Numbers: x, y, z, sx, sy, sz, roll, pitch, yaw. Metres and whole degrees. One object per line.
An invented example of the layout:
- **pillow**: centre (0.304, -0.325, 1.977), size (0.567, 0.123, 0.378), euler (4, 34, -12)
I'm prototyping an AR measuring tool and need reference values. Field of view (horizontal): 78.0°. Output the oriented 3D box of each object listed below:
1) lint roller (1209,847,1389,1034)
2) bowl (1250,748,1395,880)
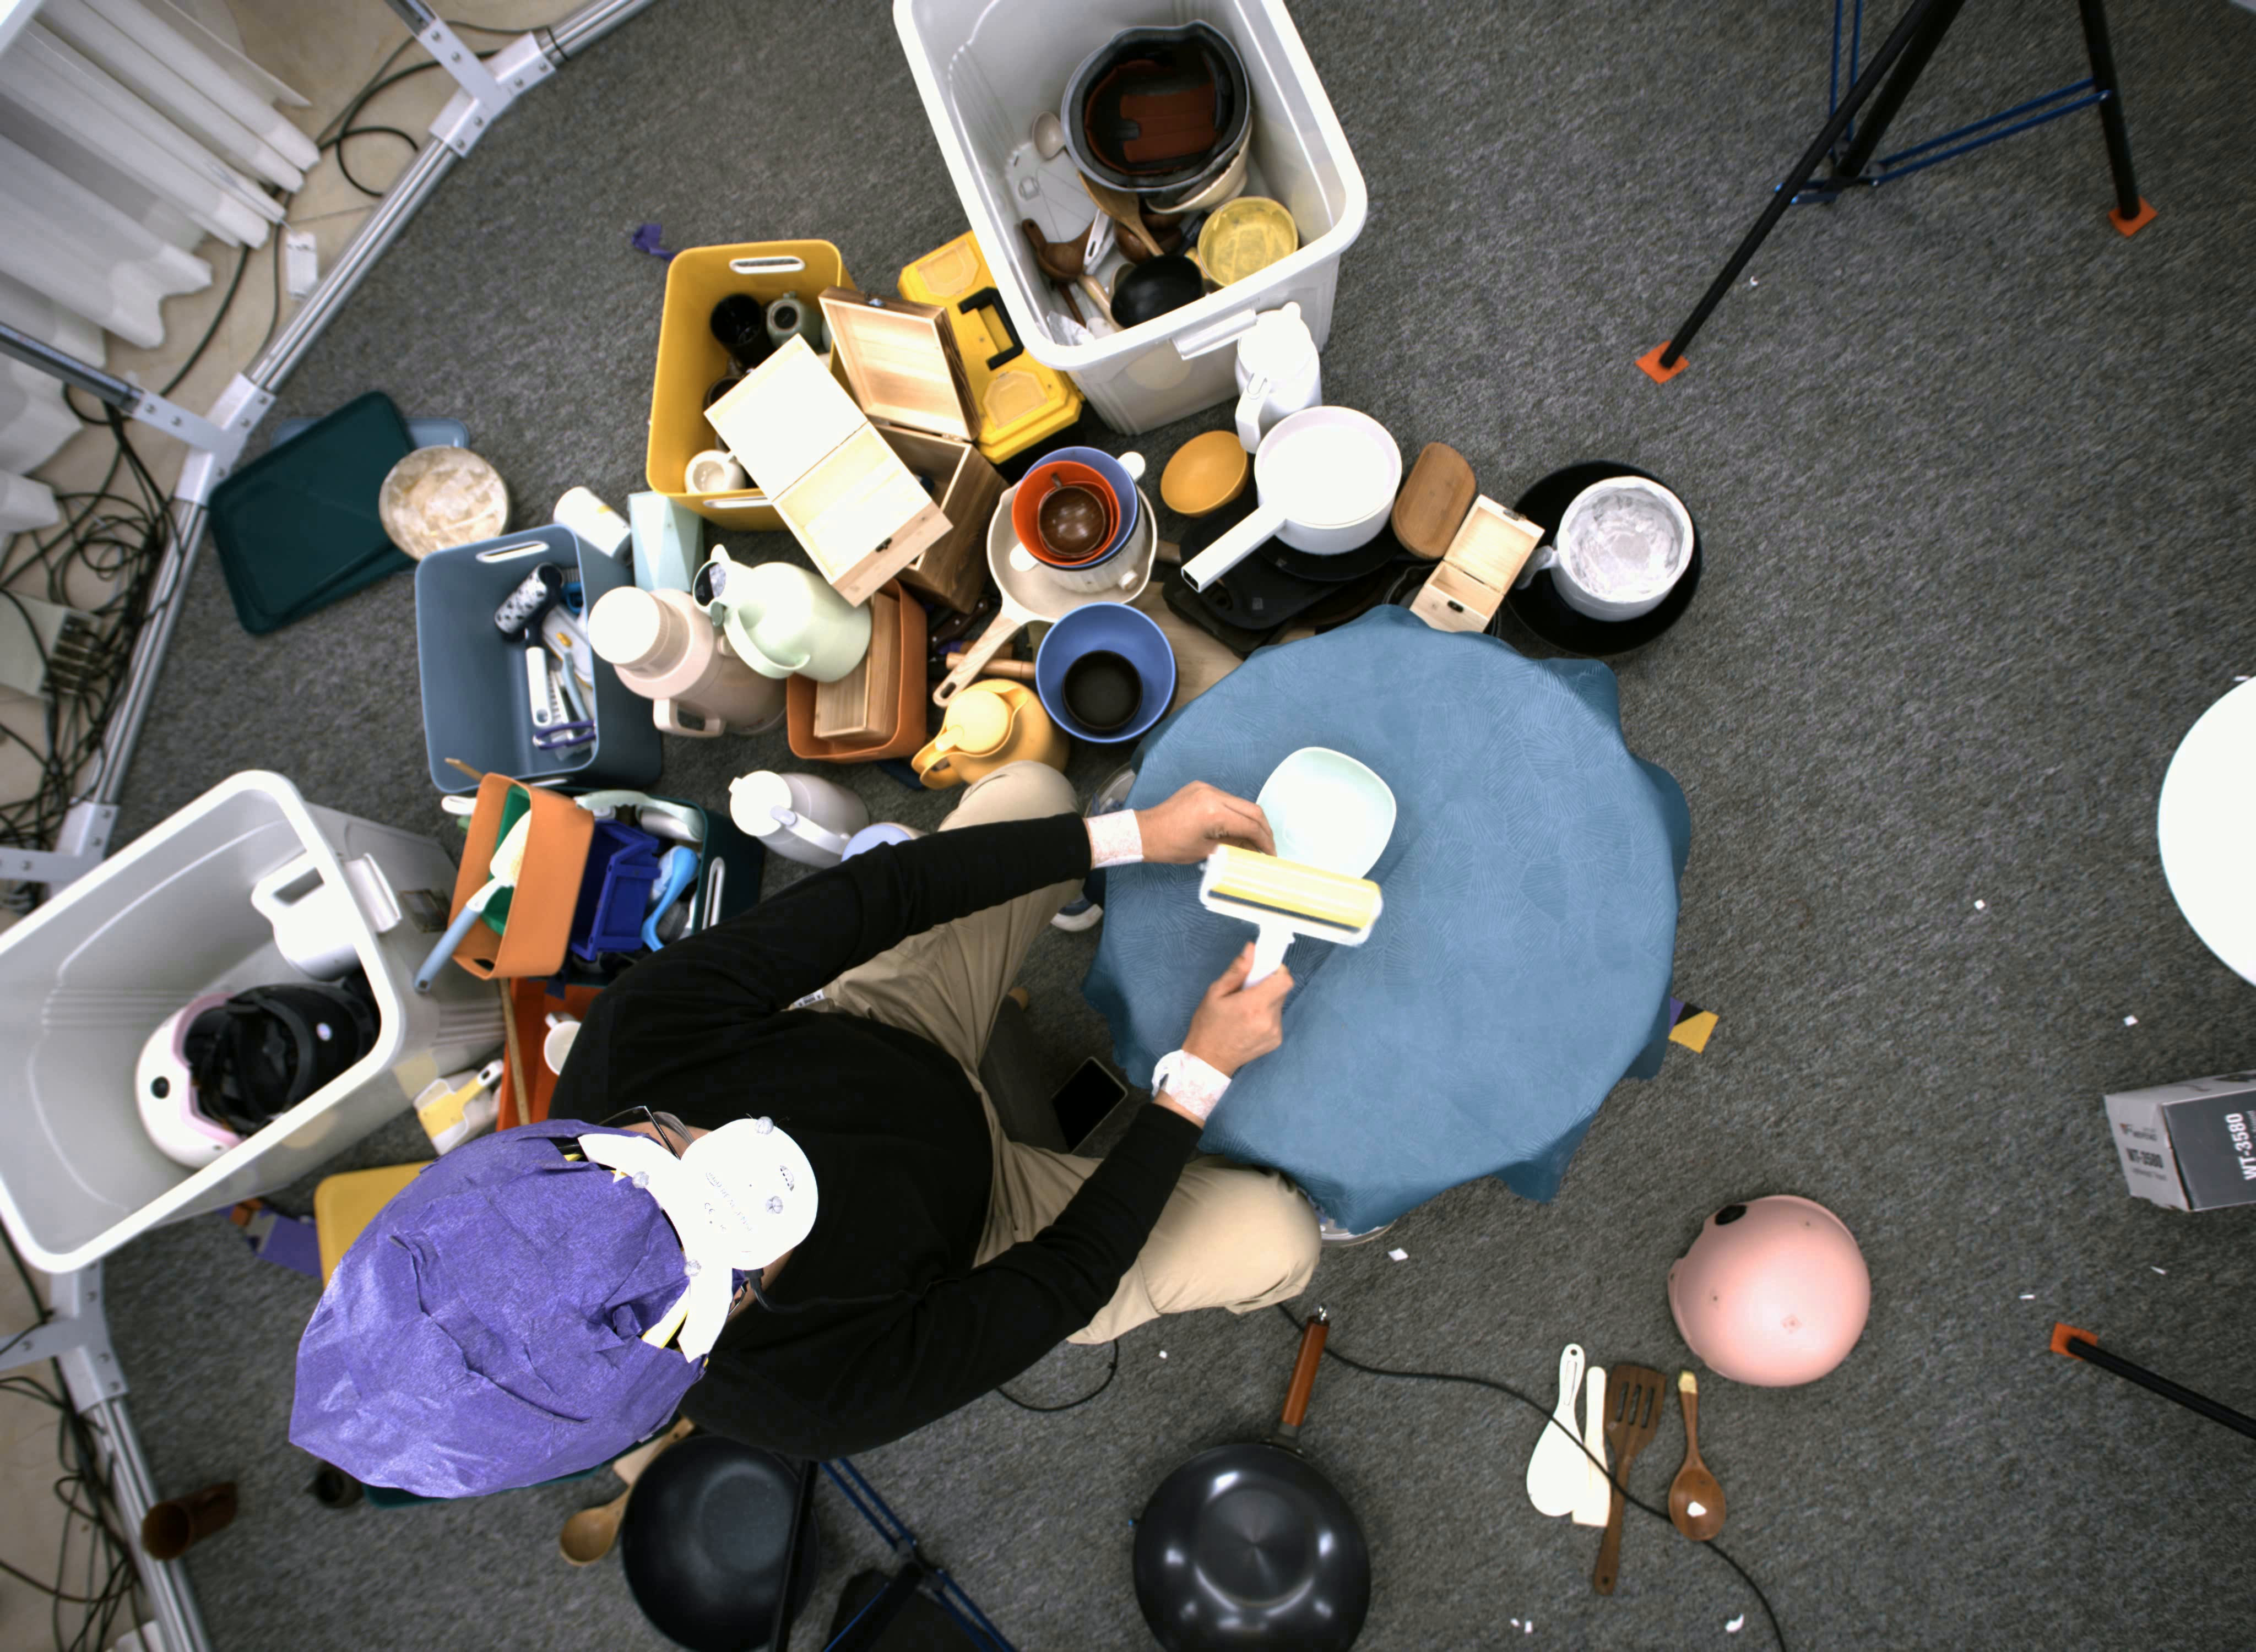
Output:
- **lint roller**: centre (0.152, 0.128, 1.381), size (0.174, 0.050, 0.195), euler (13, 107, -8)
- **bowl**: centre (0.204, -0.004, 1.447), size (0.152, 0.059, 0.150), euler (-1, 84, 9)
